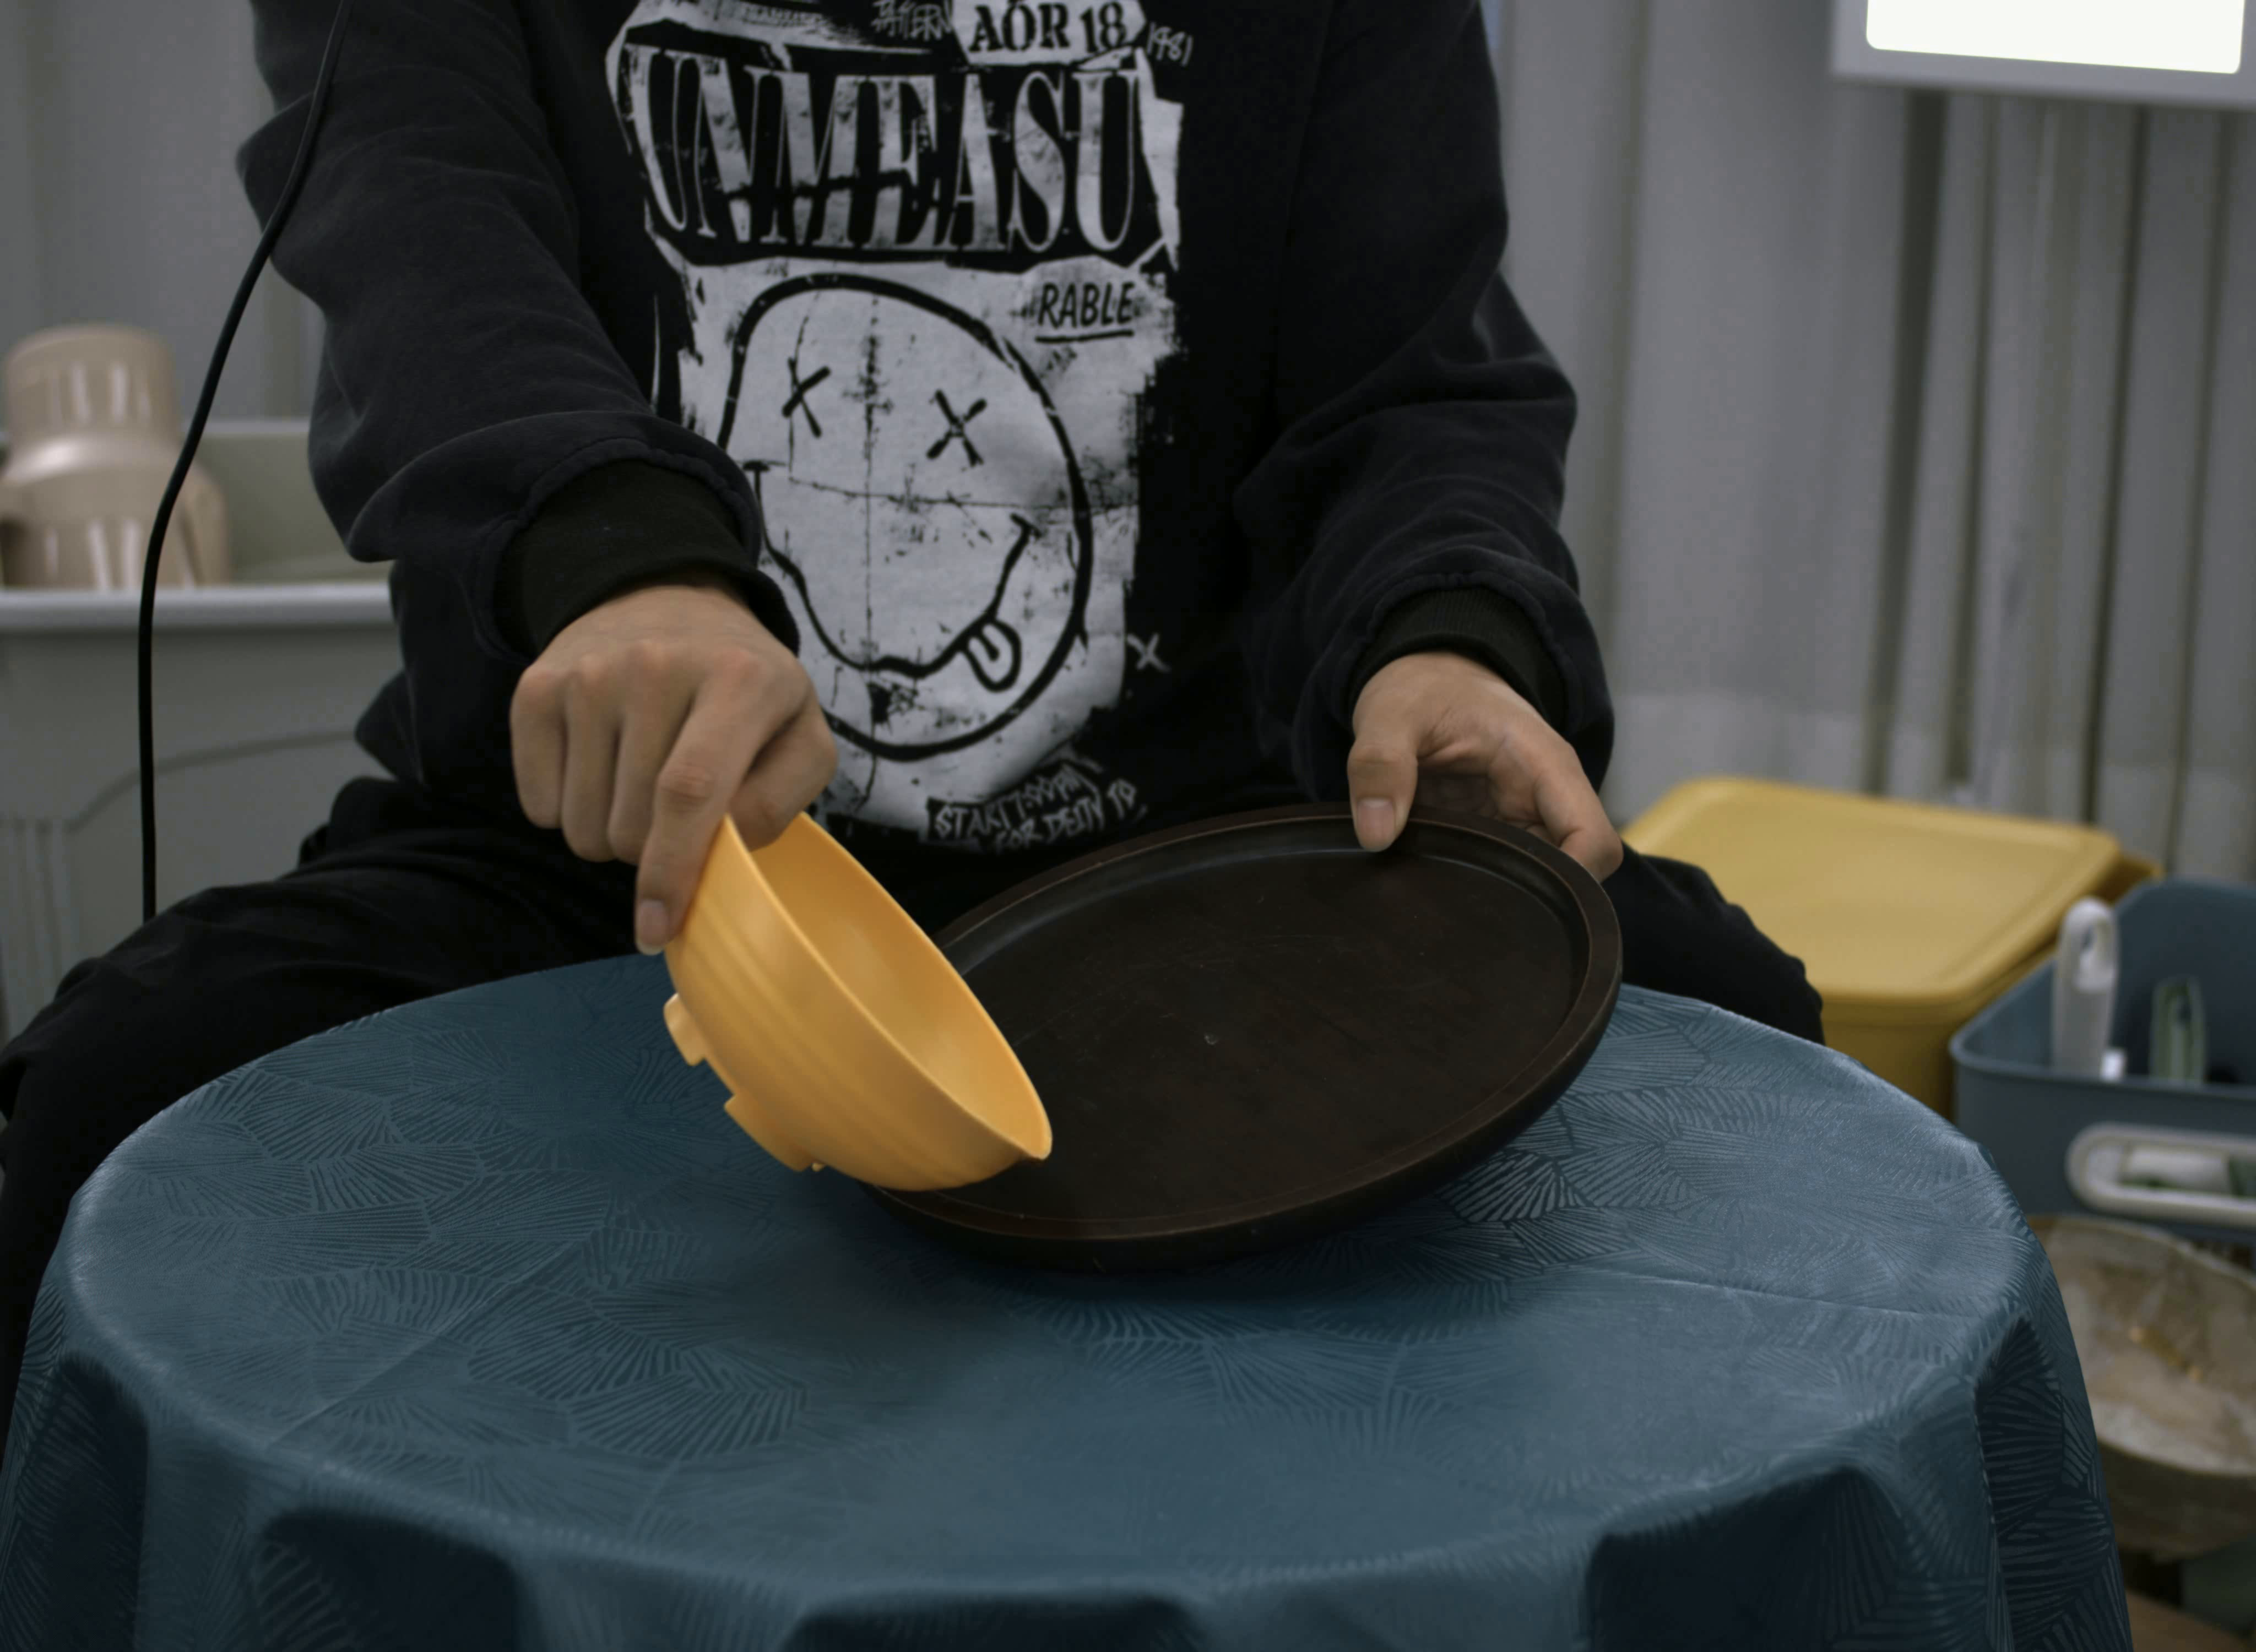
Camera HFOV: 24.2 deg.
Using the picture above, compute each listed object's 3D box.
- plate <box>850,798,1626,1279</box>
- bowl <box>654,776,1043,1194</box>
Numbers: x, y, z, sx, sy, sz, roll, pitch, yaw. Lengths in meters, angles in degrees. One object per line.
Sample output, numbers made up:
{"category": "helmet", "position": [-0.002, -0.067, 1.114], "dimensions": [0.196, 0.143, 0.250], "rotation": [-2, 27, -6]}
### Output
{"category": "plate", "position": [0.031, 0.064, 1.630], "dimensions": [0.253, 0.029, 0.253], "rotation": [-12, 27, 7]}
{"category": "bowl", "position": [-0.093, 0.058, 1.526], "dimensions": [0.060, 0.146, 0.144], "rotation": [-42, 17, 7]}
